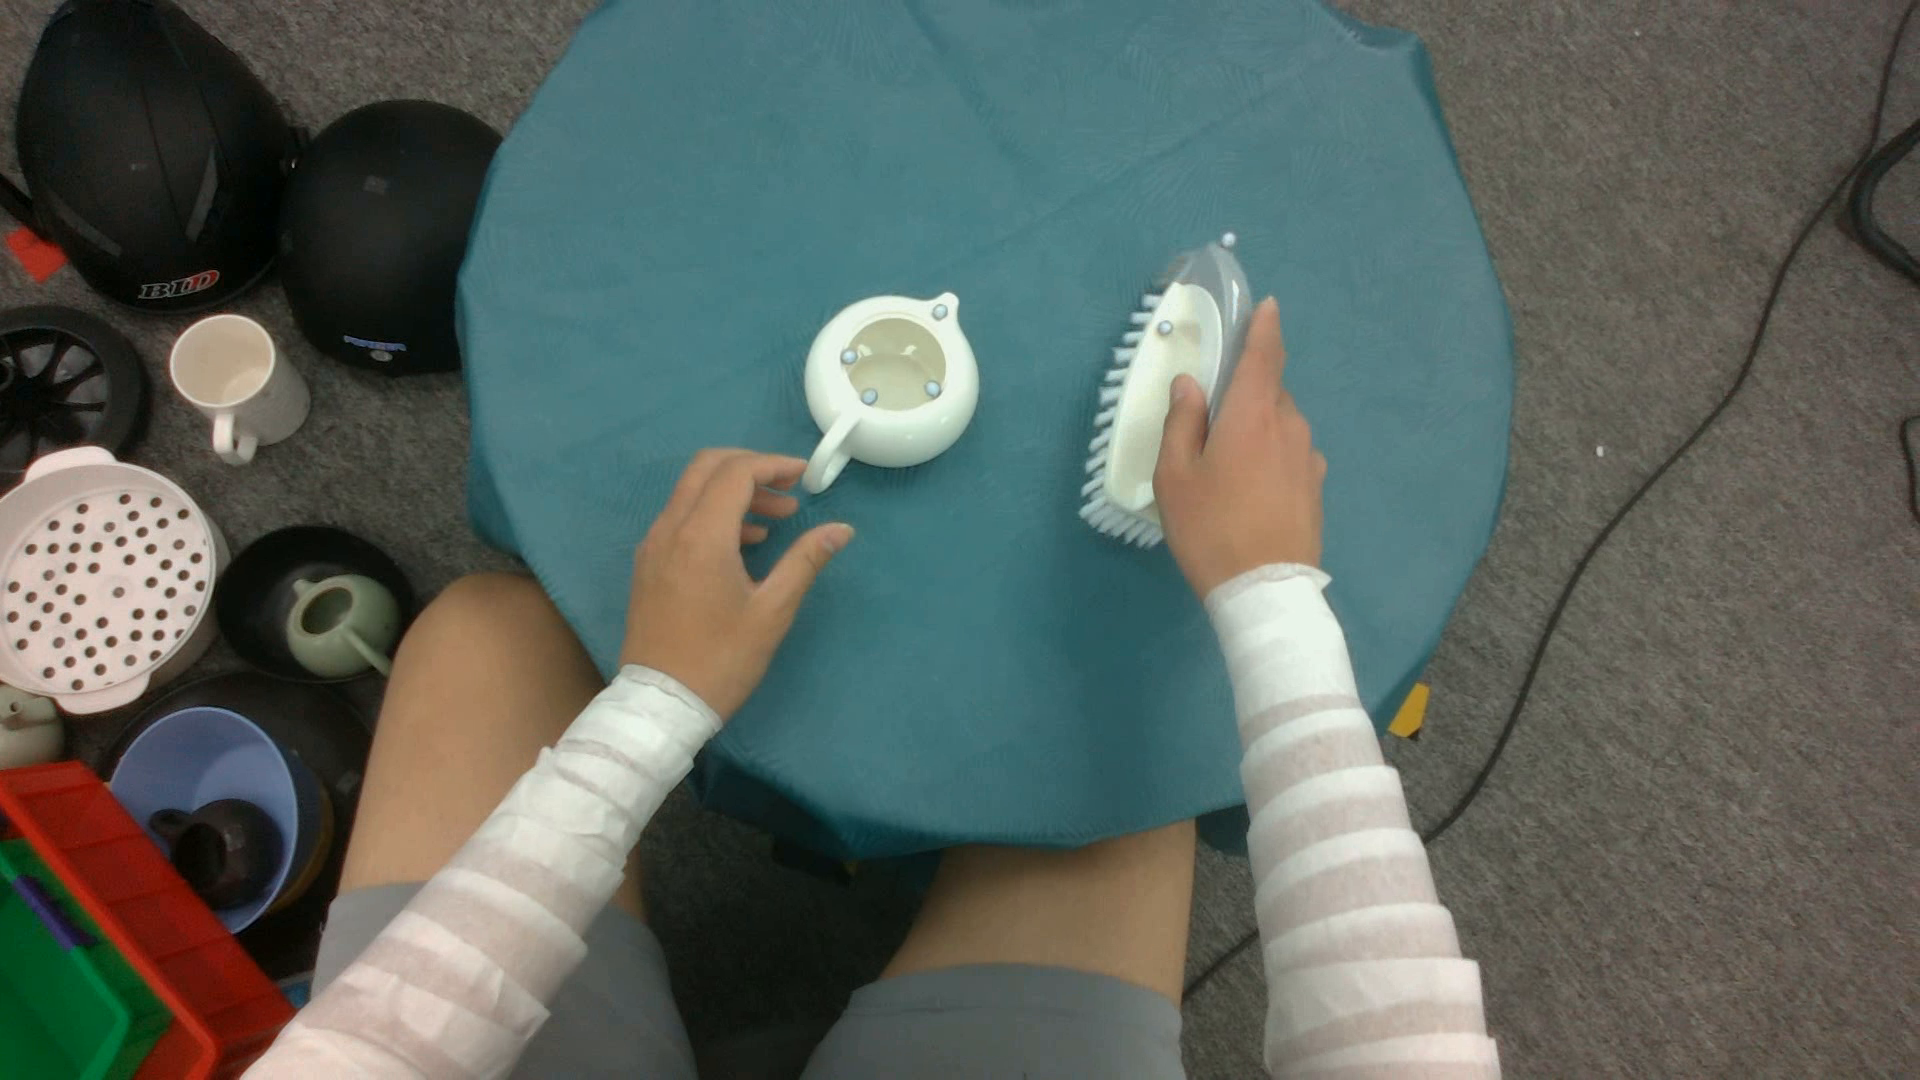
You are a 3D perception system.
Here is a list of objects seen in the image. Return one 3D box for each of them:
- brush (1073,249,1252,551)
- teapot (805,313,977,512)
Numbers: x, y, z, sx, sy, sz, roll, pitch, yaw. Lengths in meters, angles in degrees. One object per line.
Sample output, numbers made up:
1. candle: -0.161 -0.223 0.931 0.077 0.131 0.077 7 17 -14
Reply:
1. brush: 0.116 -0.086 0.738 0.061 0.094 0.176 23 68 -30
2. teapot: -0.043 -0.067 0.746 0.093 0.056 0.127 33 73 0
